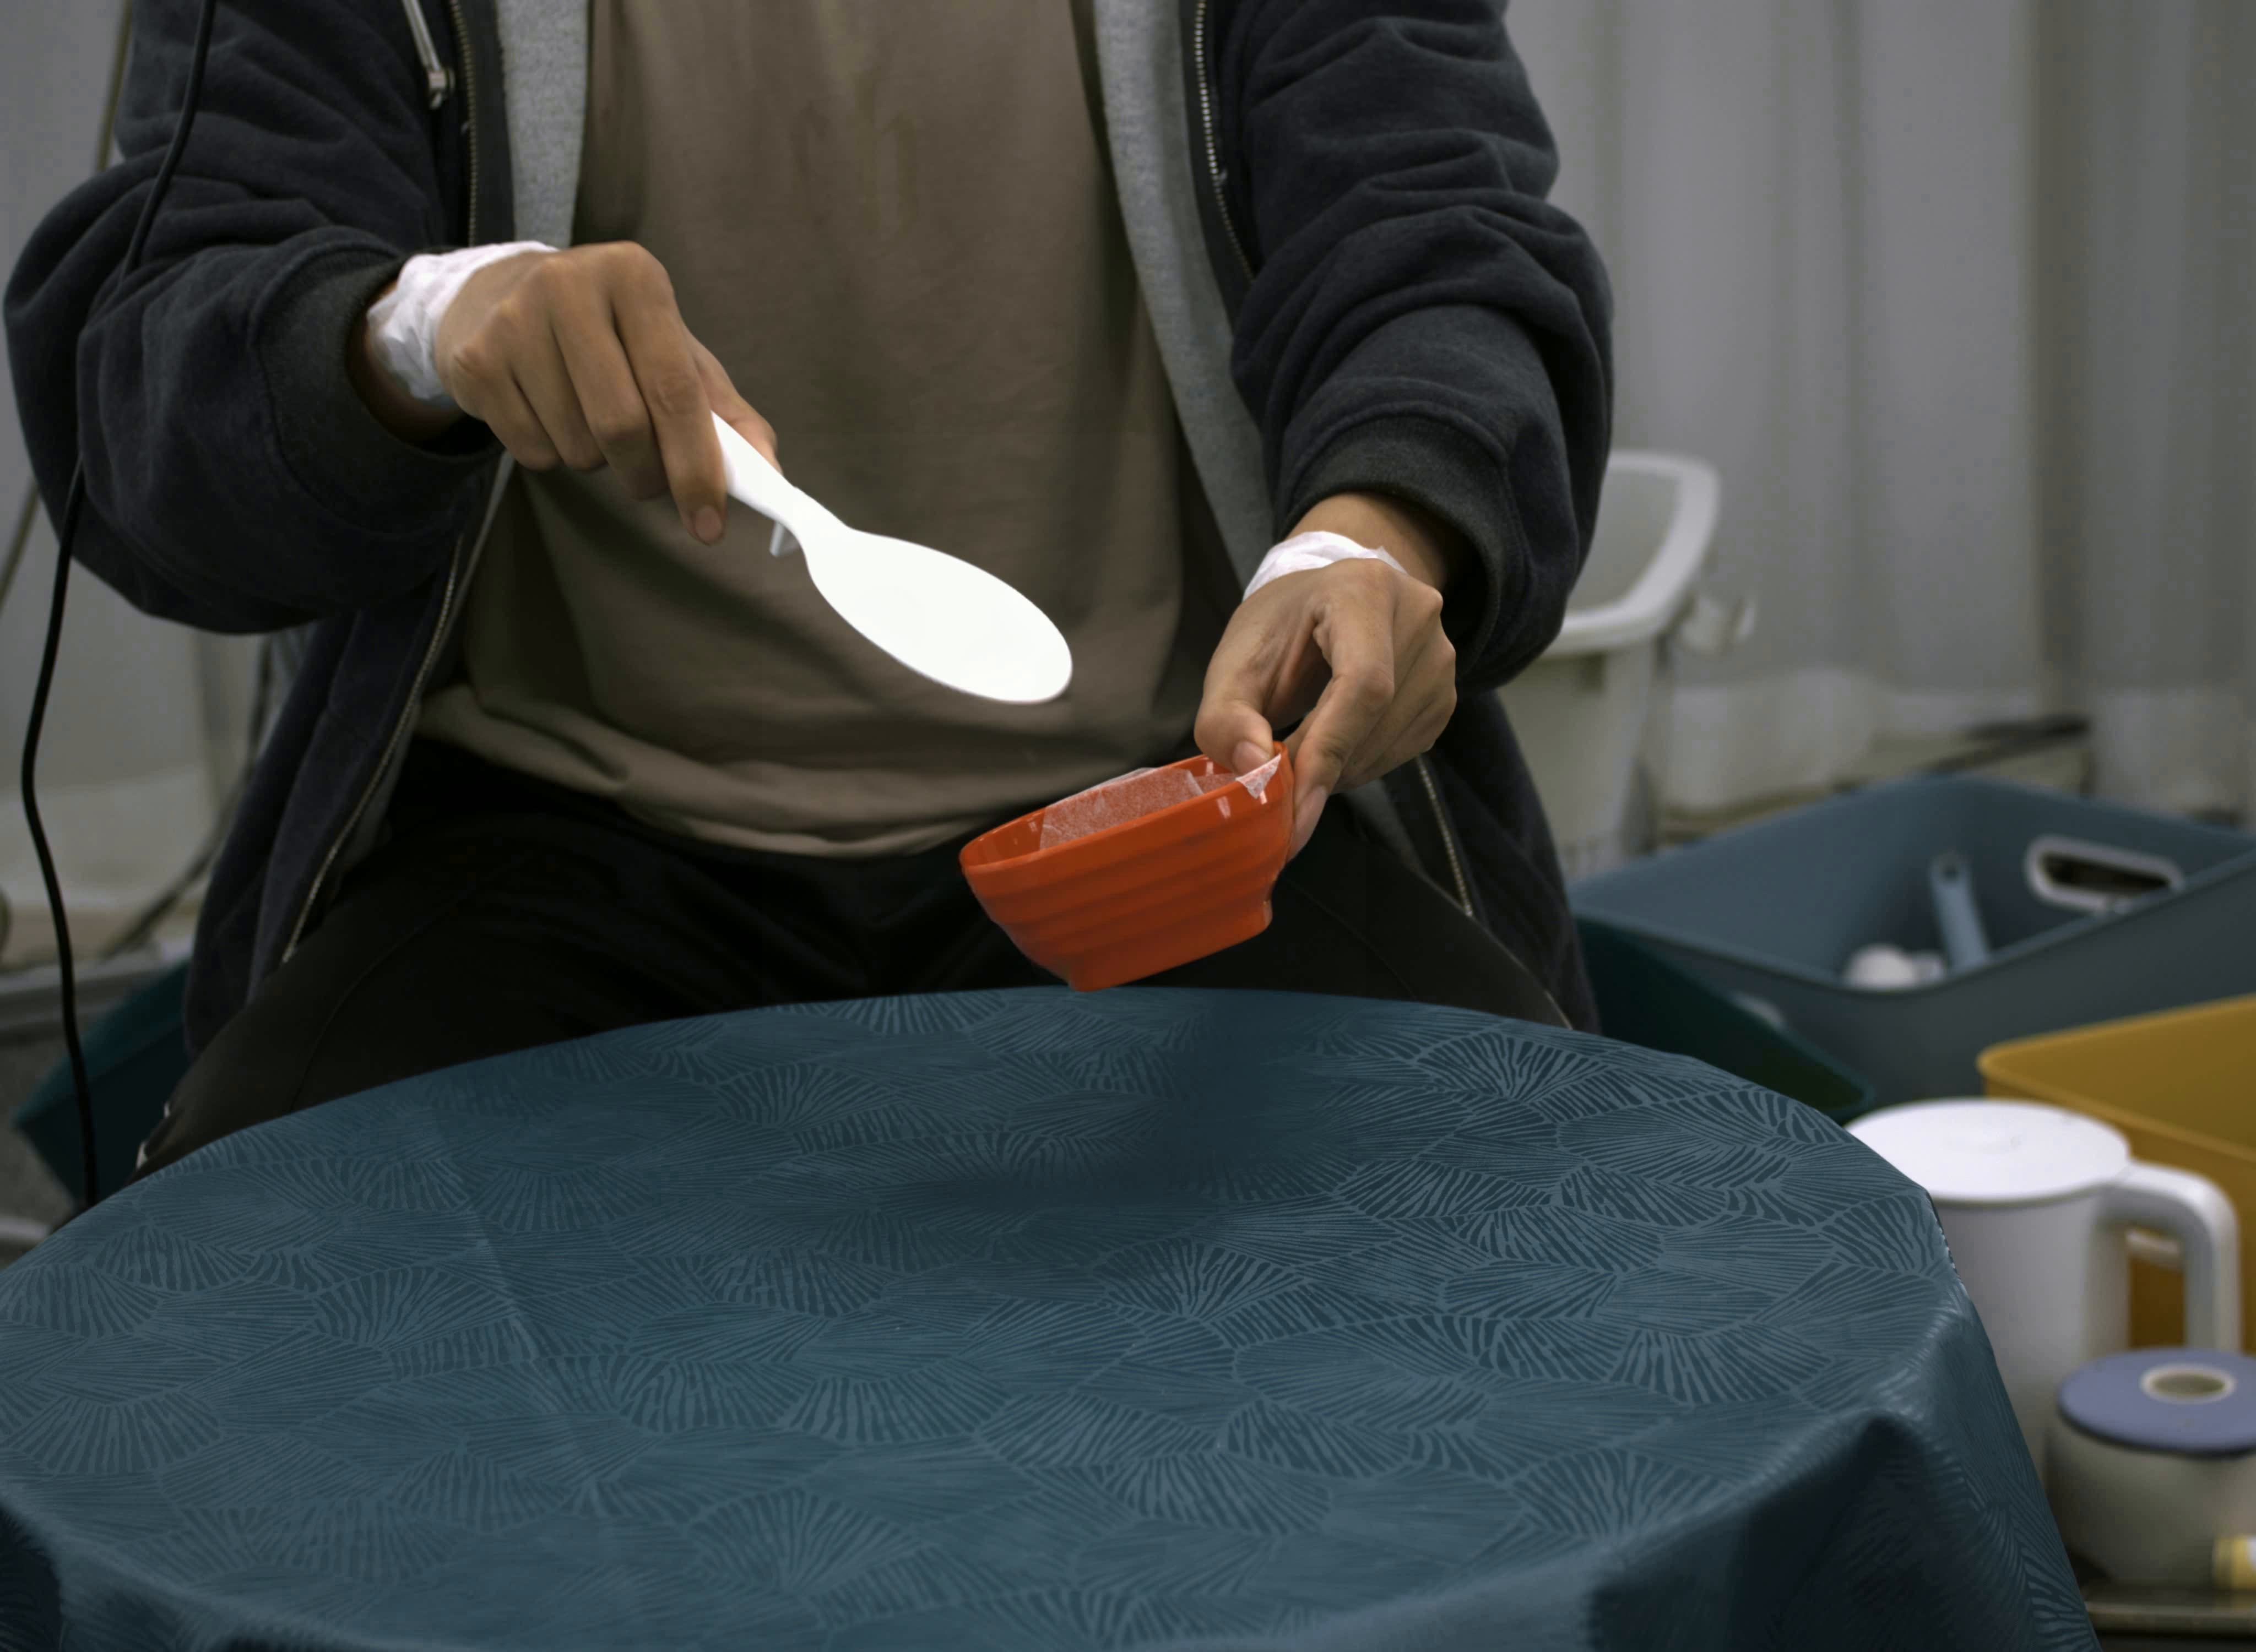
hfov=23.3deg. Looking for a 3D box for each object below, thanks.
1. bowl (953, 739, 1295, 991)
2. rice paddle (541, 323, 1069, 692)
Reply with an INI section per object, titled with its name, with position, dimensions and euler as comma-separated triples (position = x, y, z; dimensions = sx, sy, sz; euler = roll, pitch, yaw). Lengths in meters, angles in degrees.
[bowl]
position = 0.005, 0.015, 1.703
dimensions = 0.118, 0.051, 0.119
euler = -18, 8, 2
[rice paddle]
position = -0.102, -0.099, 1.738
dimensions = 0.207, 0.029, 0.069
euler = 34, 35, 23
